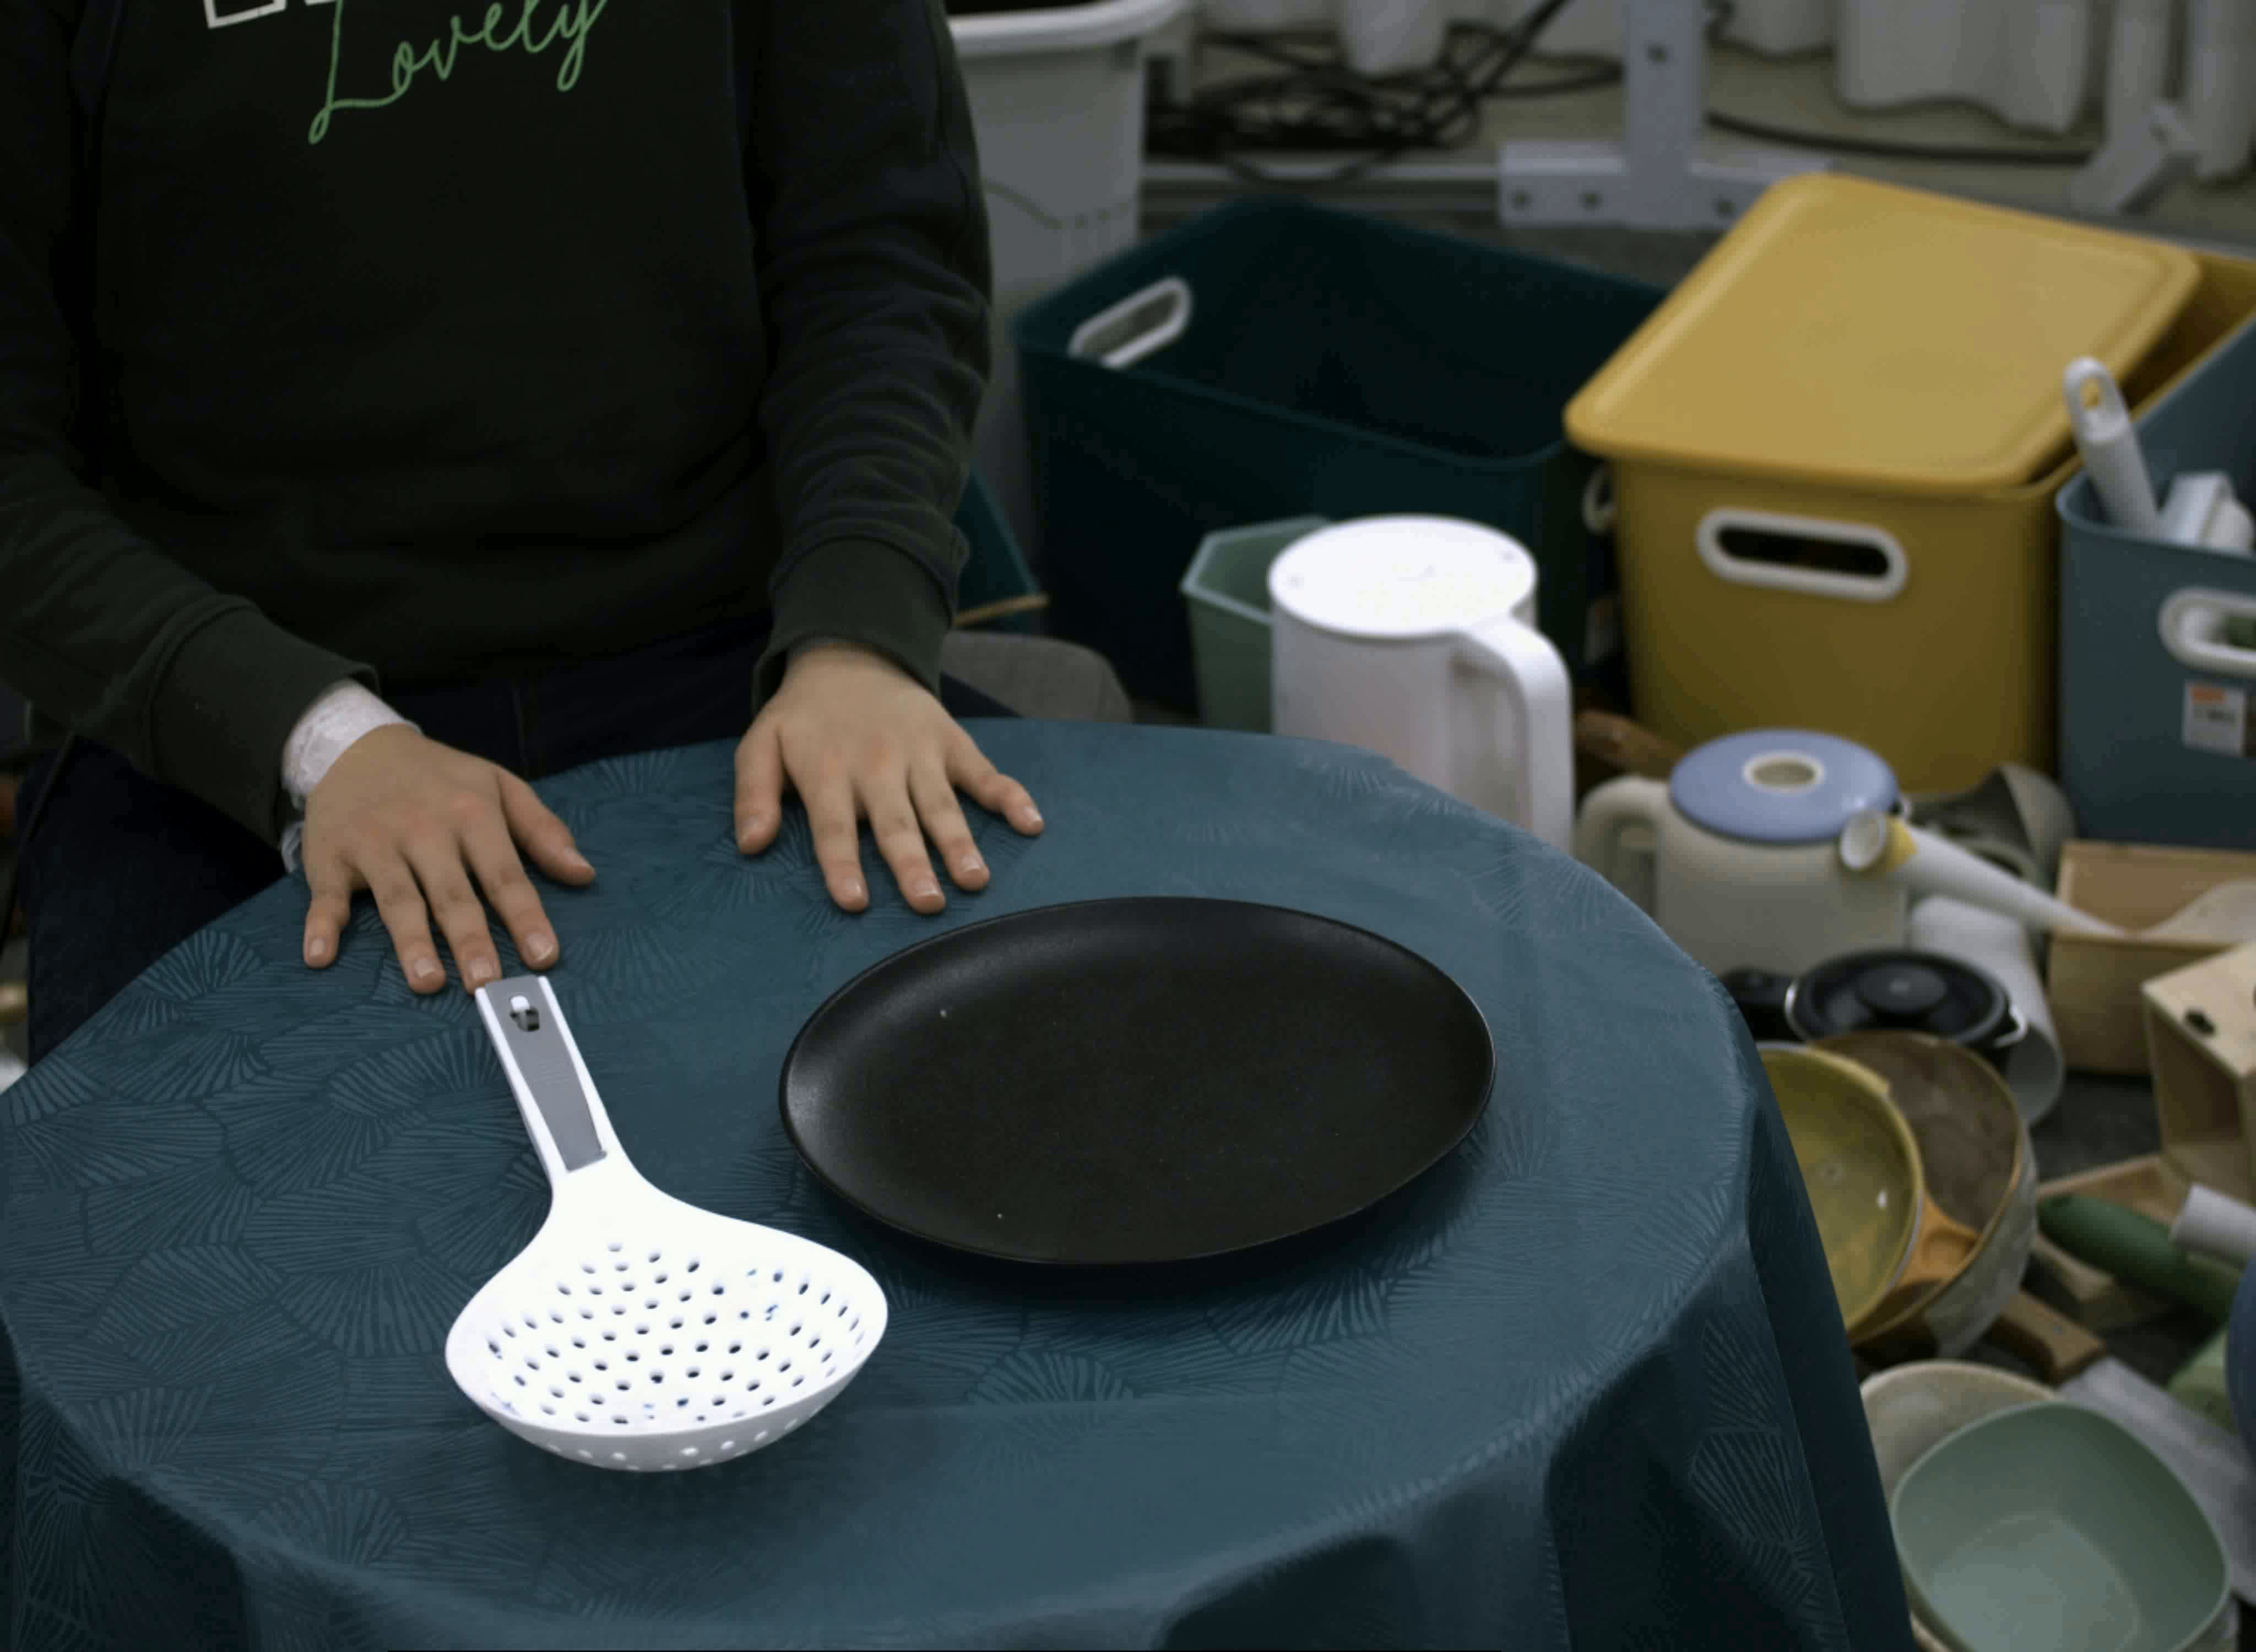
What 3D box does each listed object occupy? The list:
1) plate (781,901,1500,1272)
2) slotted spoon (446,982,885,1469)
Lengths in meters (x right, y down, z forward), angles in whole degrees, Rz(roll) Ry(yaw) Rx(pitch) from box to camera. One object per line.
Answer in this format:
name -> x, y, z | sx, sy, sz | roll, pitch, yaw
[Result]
plate -> 0.004, 0.092, 1.894 | 0.243, 0.023, 0.248 | -2, 27, 2
slotted spoon -> -0.171, 0.123, 1.826 | 0.136, 0.045, 0.353 | -8, 27, -13
